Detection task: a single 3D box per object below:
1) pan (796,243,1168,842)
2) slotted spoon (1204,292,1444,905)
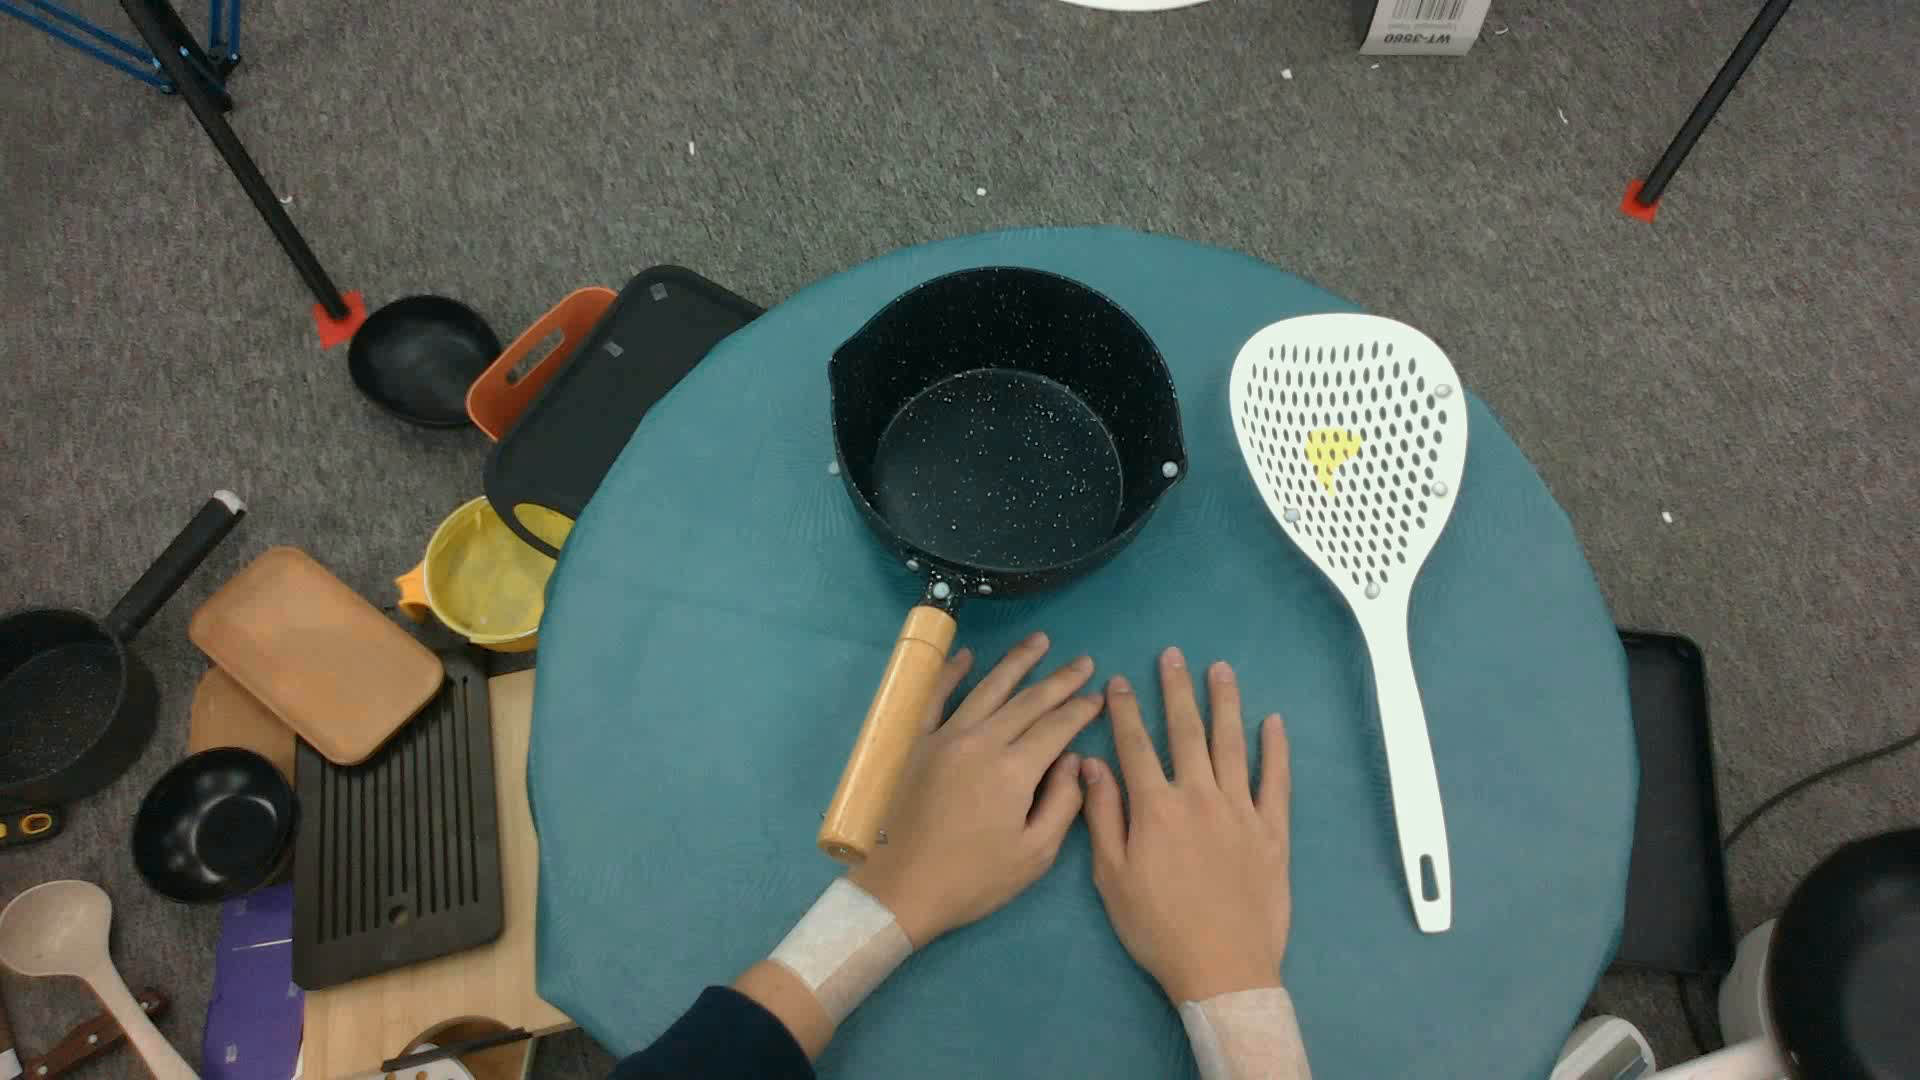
[{"bbox_3d":[-0.011,0.003,0.720,0.207,0.108,0.344,17,66,3],"label":"pan"},{"bbox_3d":[0.217,0.021,0.758,0.137,0.050,0.349,-4,65,-6],"label":"slotted spoon"}]
